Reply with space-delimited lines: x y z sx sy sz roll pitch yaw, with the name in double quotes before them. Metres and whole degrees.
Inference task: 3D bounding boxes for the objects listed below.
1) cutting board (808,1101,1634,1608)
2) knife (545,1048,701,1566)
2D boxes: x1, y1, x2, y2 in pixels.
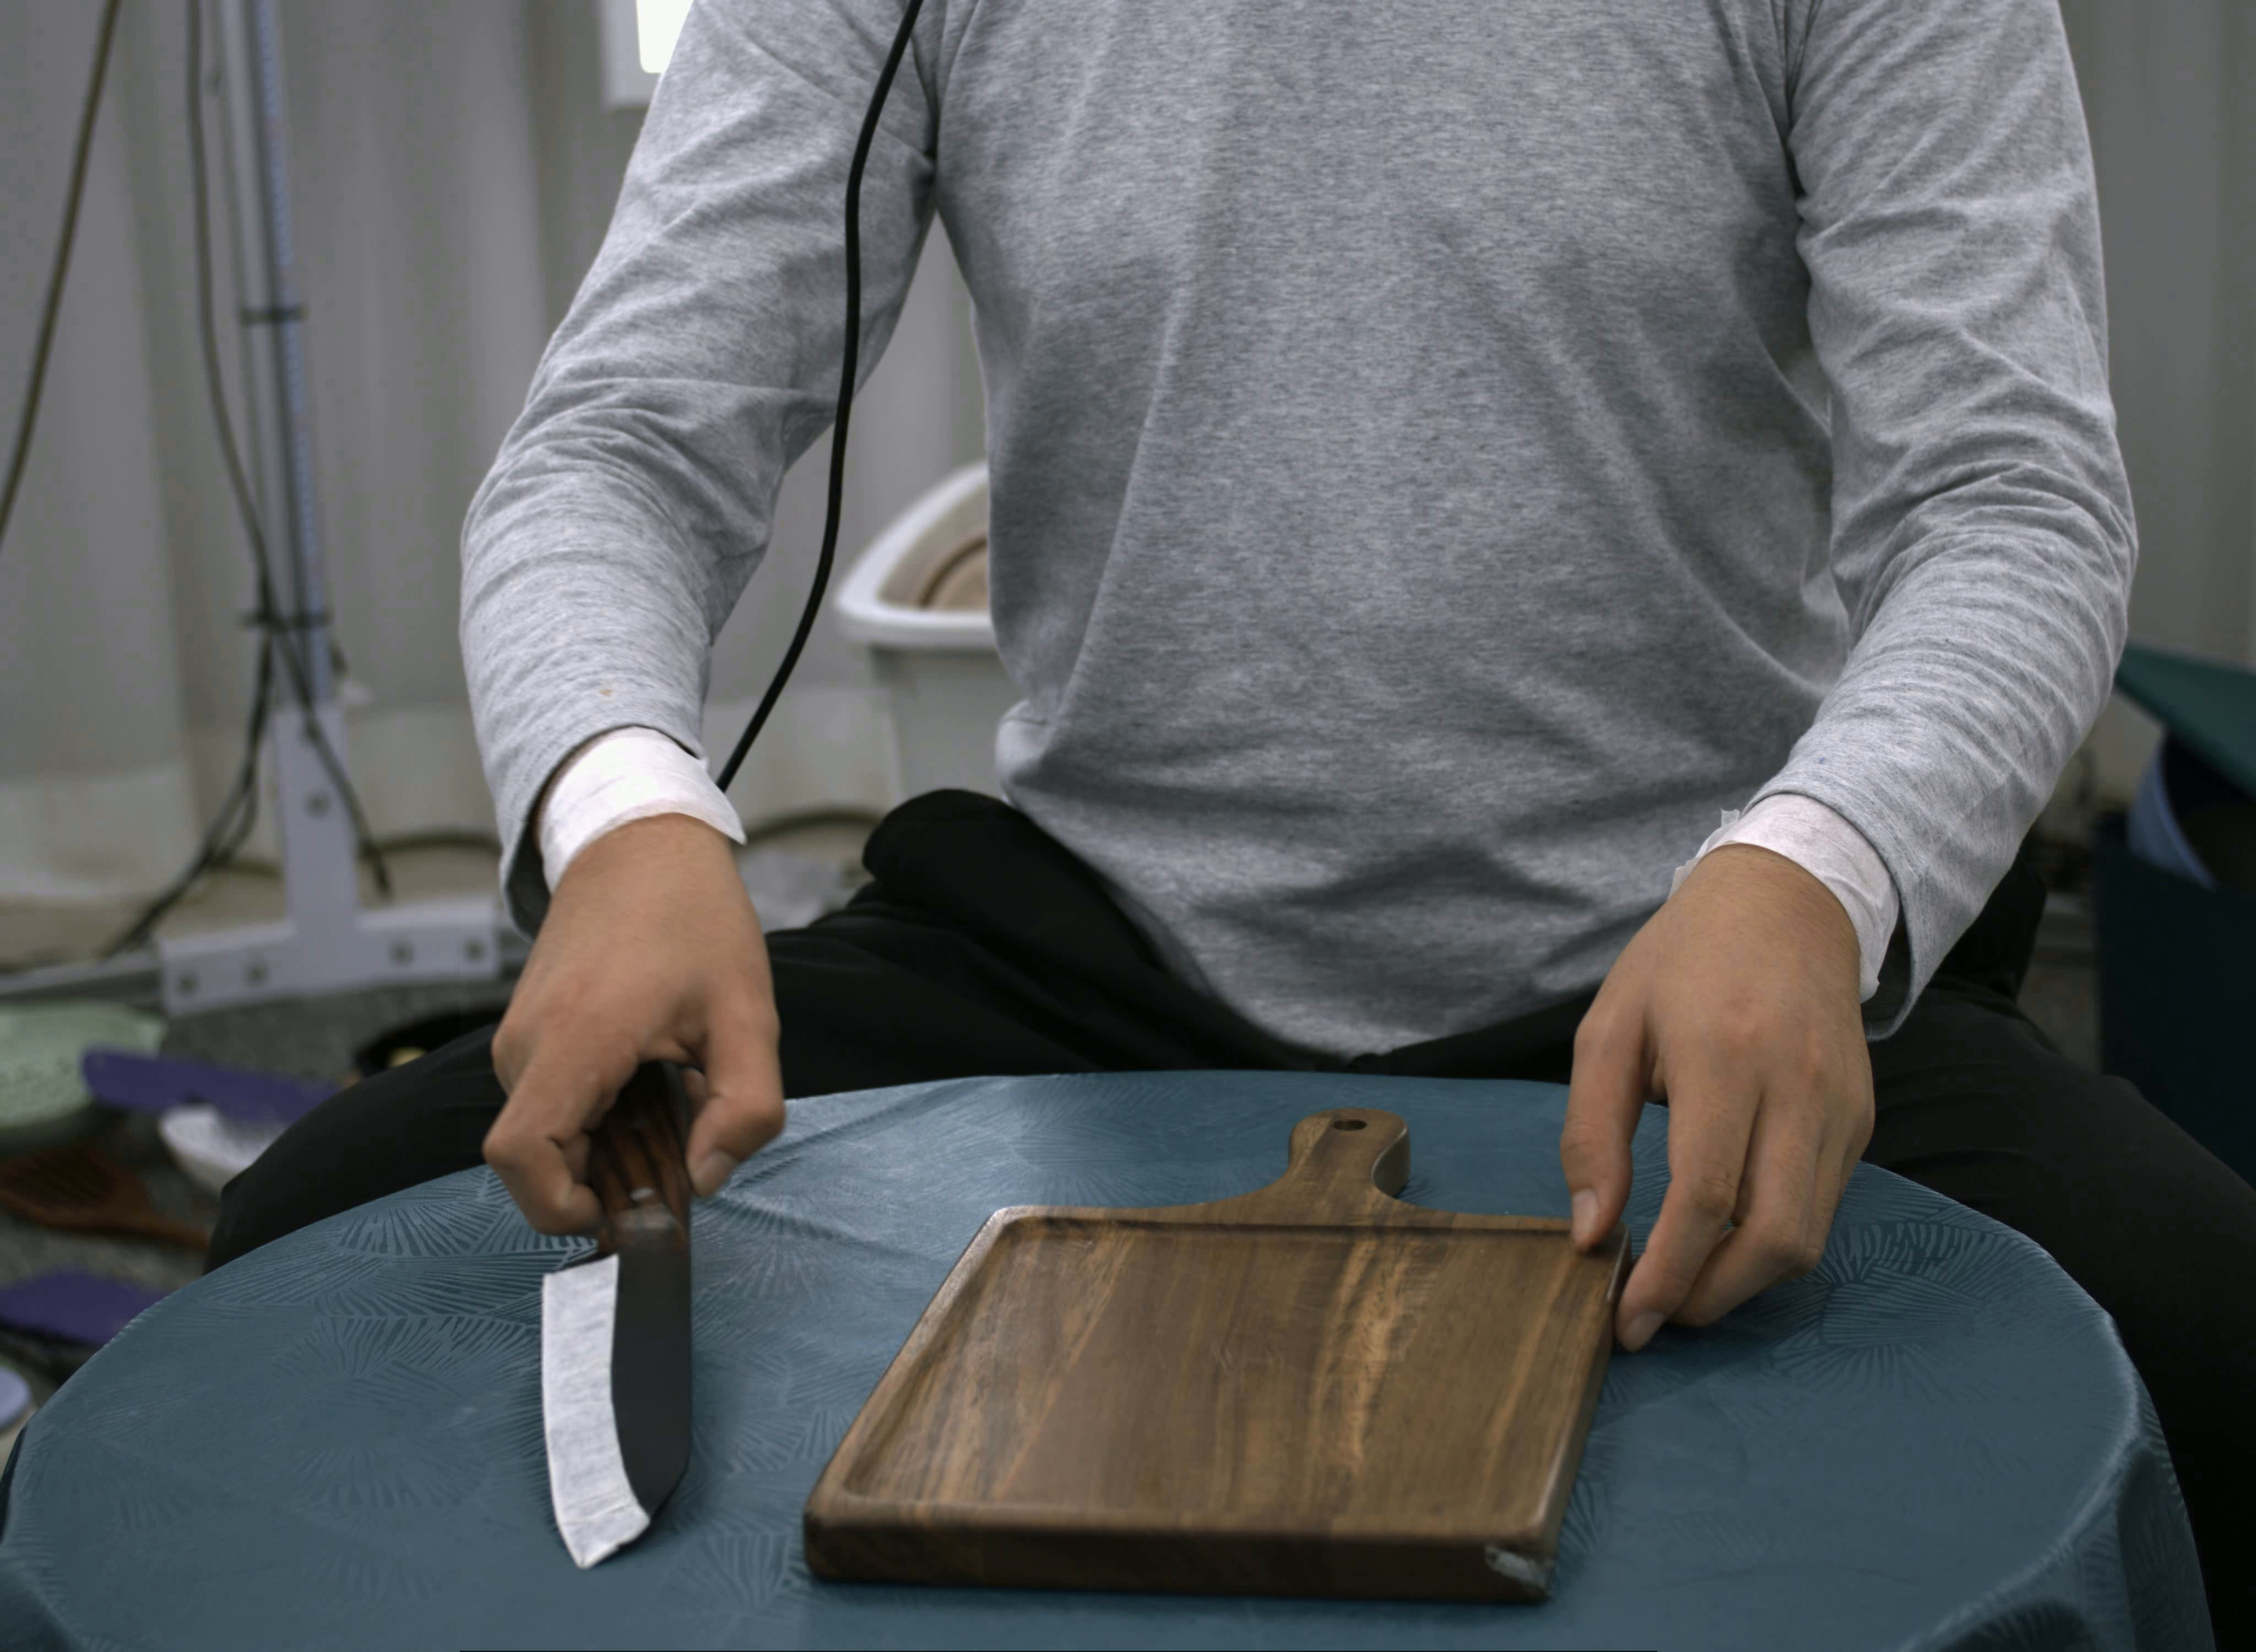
"cutting board" 0.042 0.143 1.563 0.201 0.023 0.354 1 15 11
"knife" -0.143 0.135 1.569 0.050 0.020 0.292 -15 23 4
